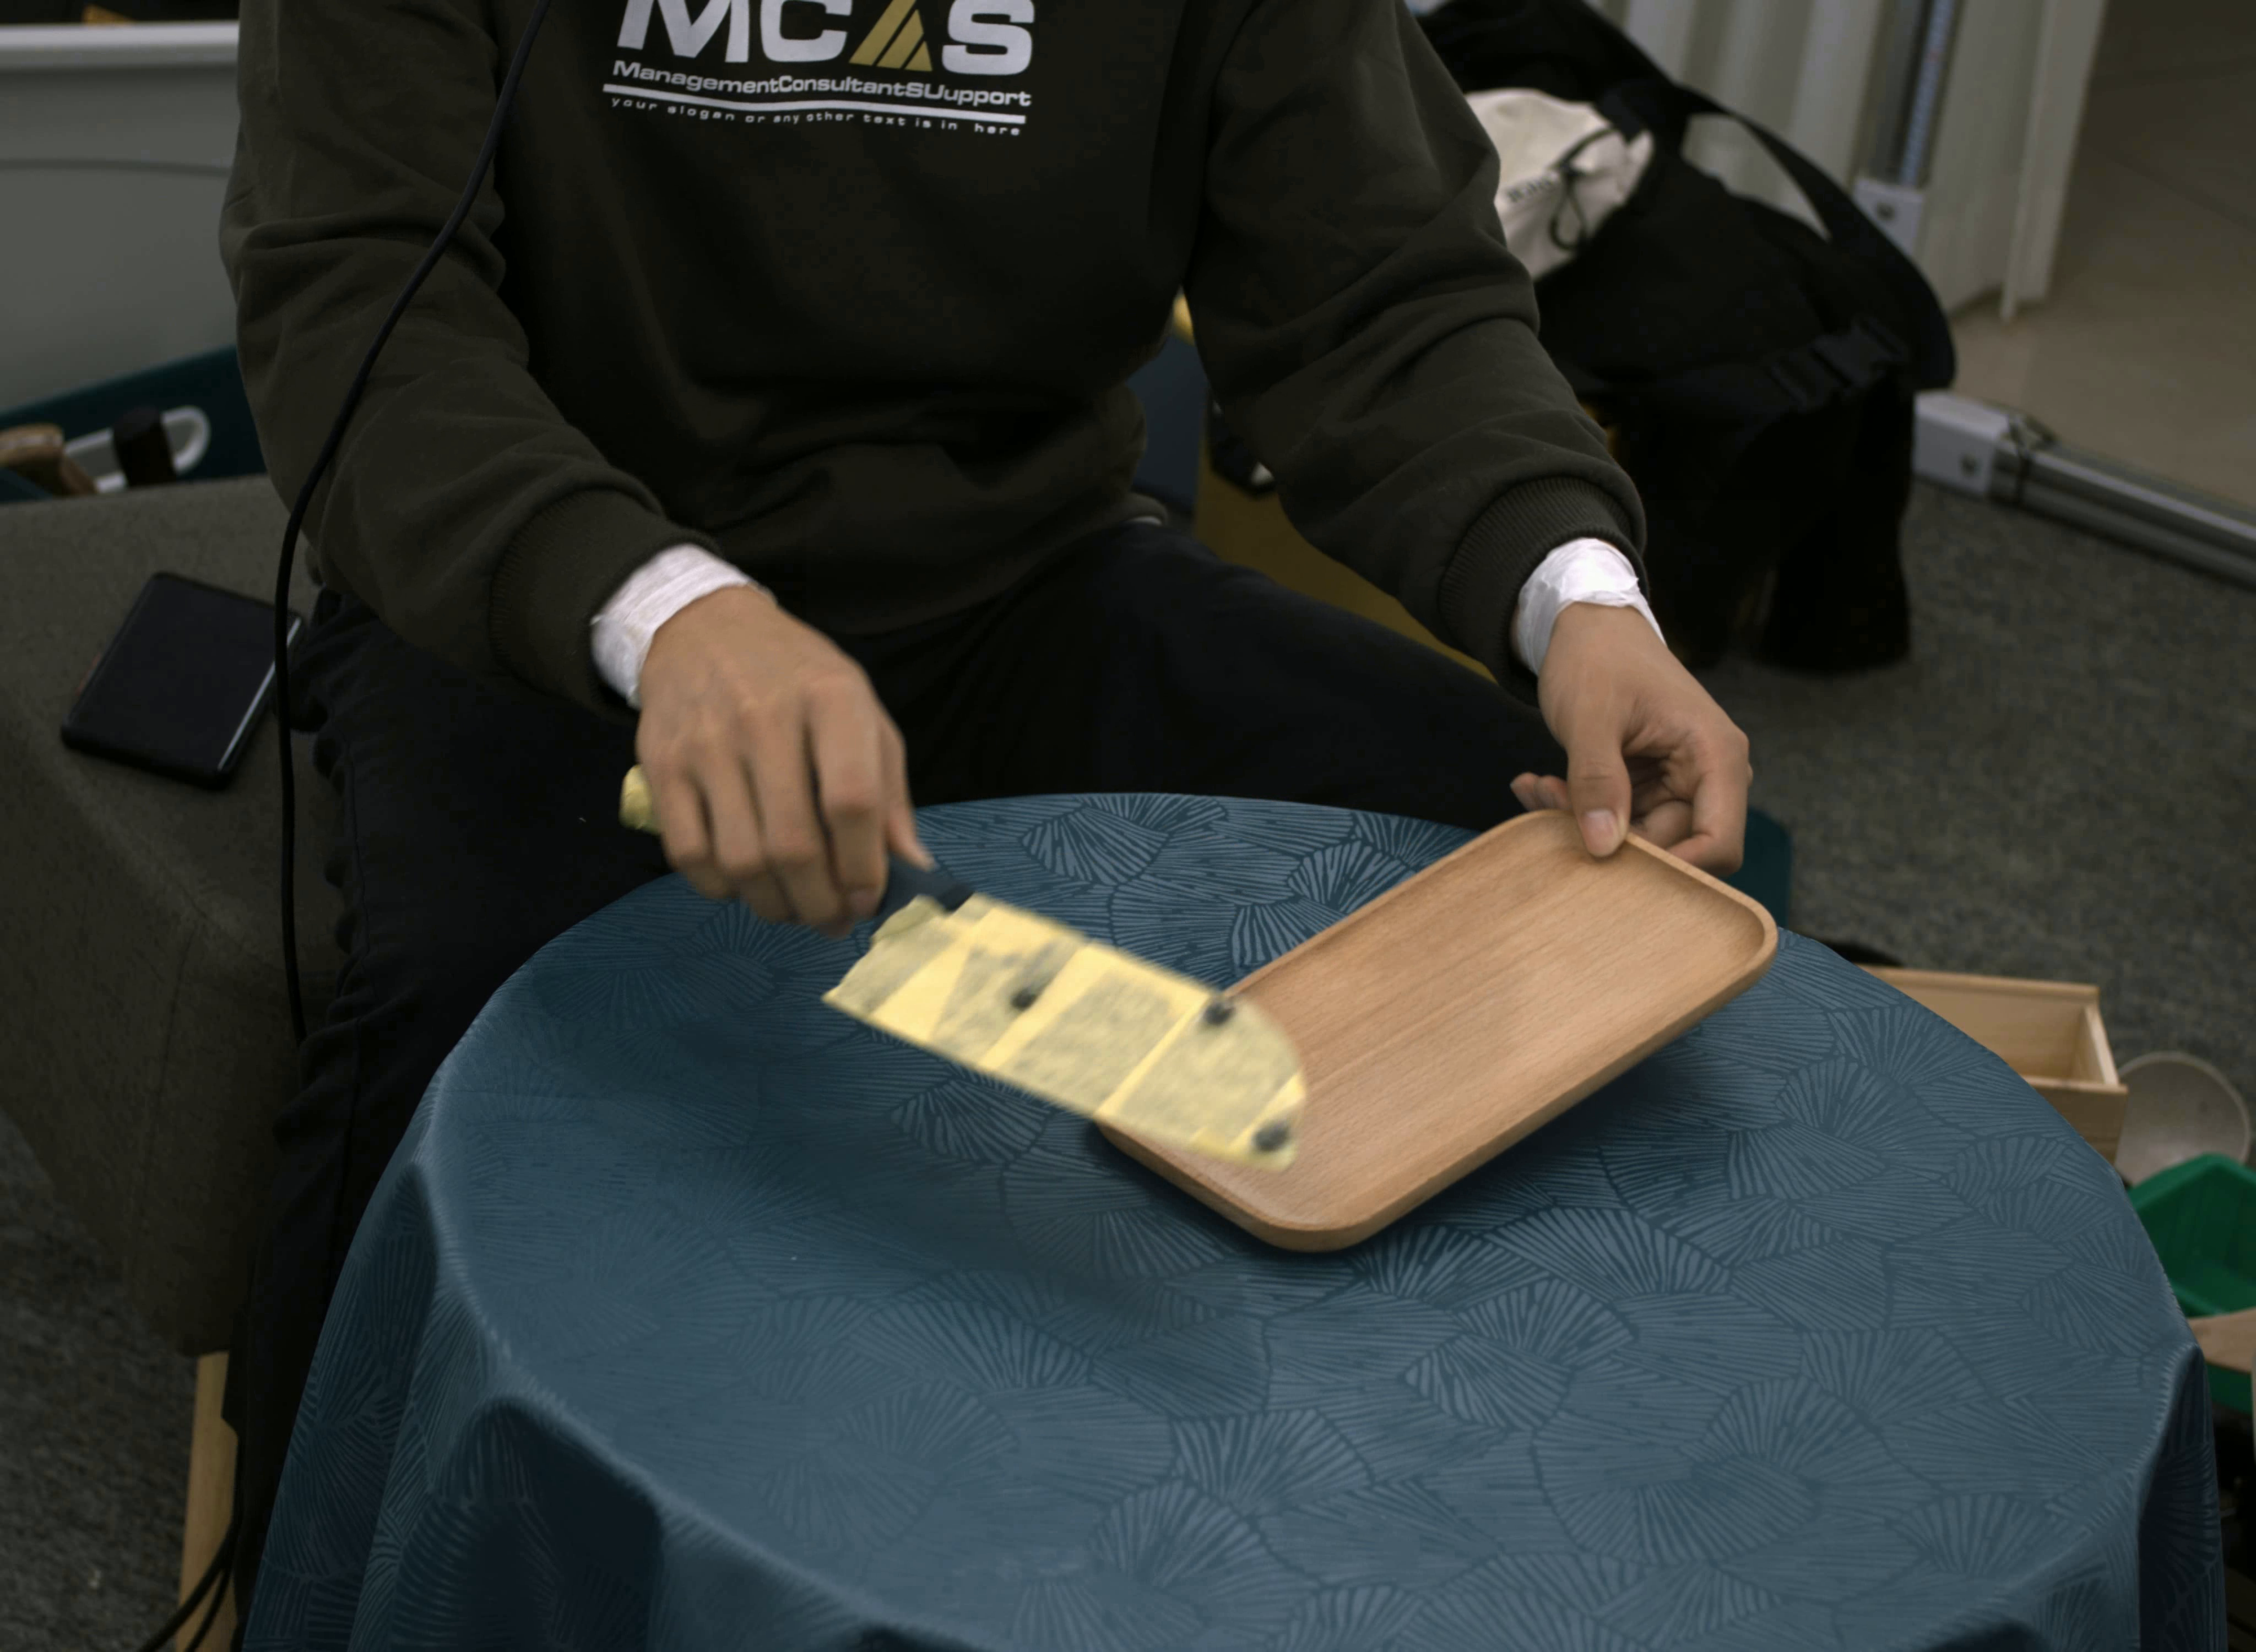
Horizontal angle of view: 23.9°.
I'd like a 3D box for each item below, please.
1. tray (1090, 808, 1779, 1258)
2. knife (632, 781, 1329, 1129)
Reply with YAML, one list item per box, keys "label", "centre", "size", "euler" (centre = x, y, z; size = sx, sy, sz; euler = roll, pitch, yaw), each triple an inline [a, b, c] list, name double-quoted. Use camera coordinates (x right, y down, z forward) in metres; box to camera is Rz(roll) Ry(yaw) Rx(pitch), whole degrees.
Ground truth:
- label: "tray"
  centre: [0.109, 0.070, 1.864]
  size: [0.250, 0.023, 0.131]
  euler: [-31, 41, -32]
- label: "knife"
  centre: [-0.057, 0.043, 1.782]
  size: [0.291, 0.027, 0.081]
  euler: [21, 44, 28]
